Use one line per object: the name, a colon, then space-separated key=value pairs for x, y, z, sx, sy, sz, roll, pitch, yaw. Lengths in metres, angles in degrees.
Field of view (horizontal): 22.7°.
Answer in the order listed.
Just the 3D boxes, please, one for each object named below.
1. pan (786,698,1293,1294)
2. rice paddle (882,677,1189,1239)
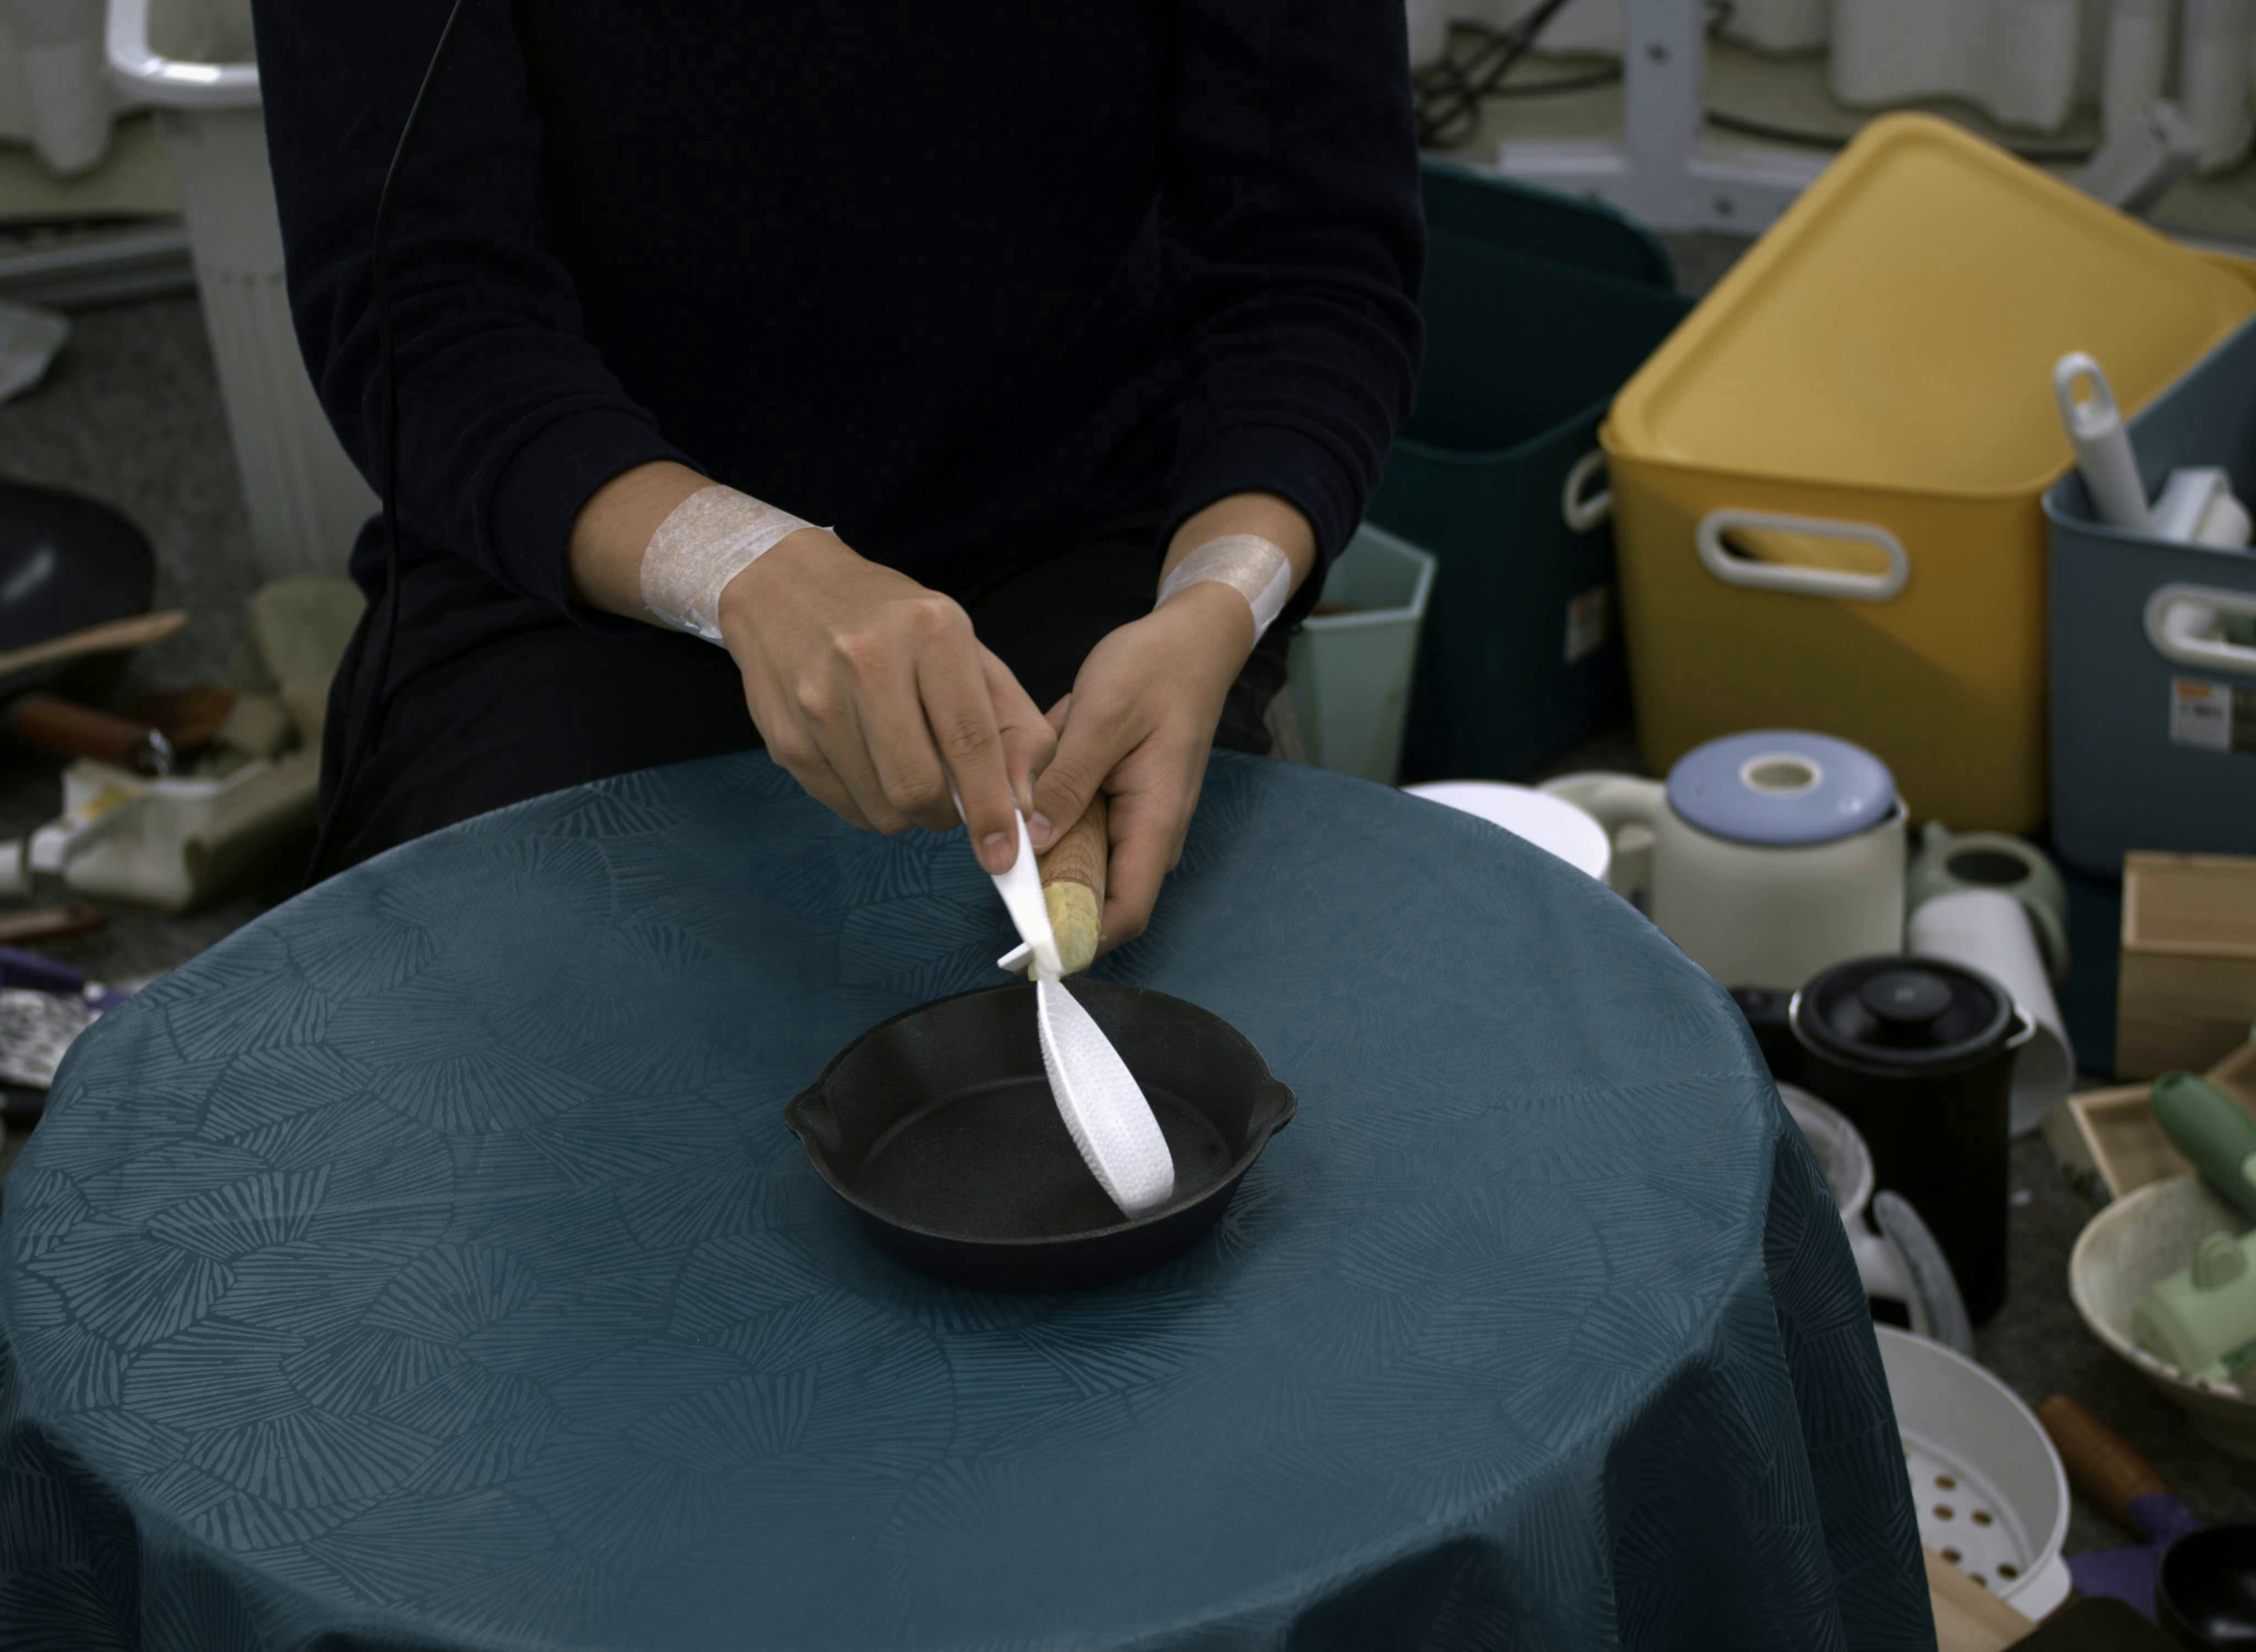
pan: x=-0.022 y=0.056 z=1.925 sx=0.168 sy=0.049 sz=0.330 roll=0 pitch=31 yaw=6
rice paddle: x=-0.026 y=0.045 z=1.851 sx=0.029 sy=0.207 sz=0.069 roll=-32 pitch=-21 yaw=16
